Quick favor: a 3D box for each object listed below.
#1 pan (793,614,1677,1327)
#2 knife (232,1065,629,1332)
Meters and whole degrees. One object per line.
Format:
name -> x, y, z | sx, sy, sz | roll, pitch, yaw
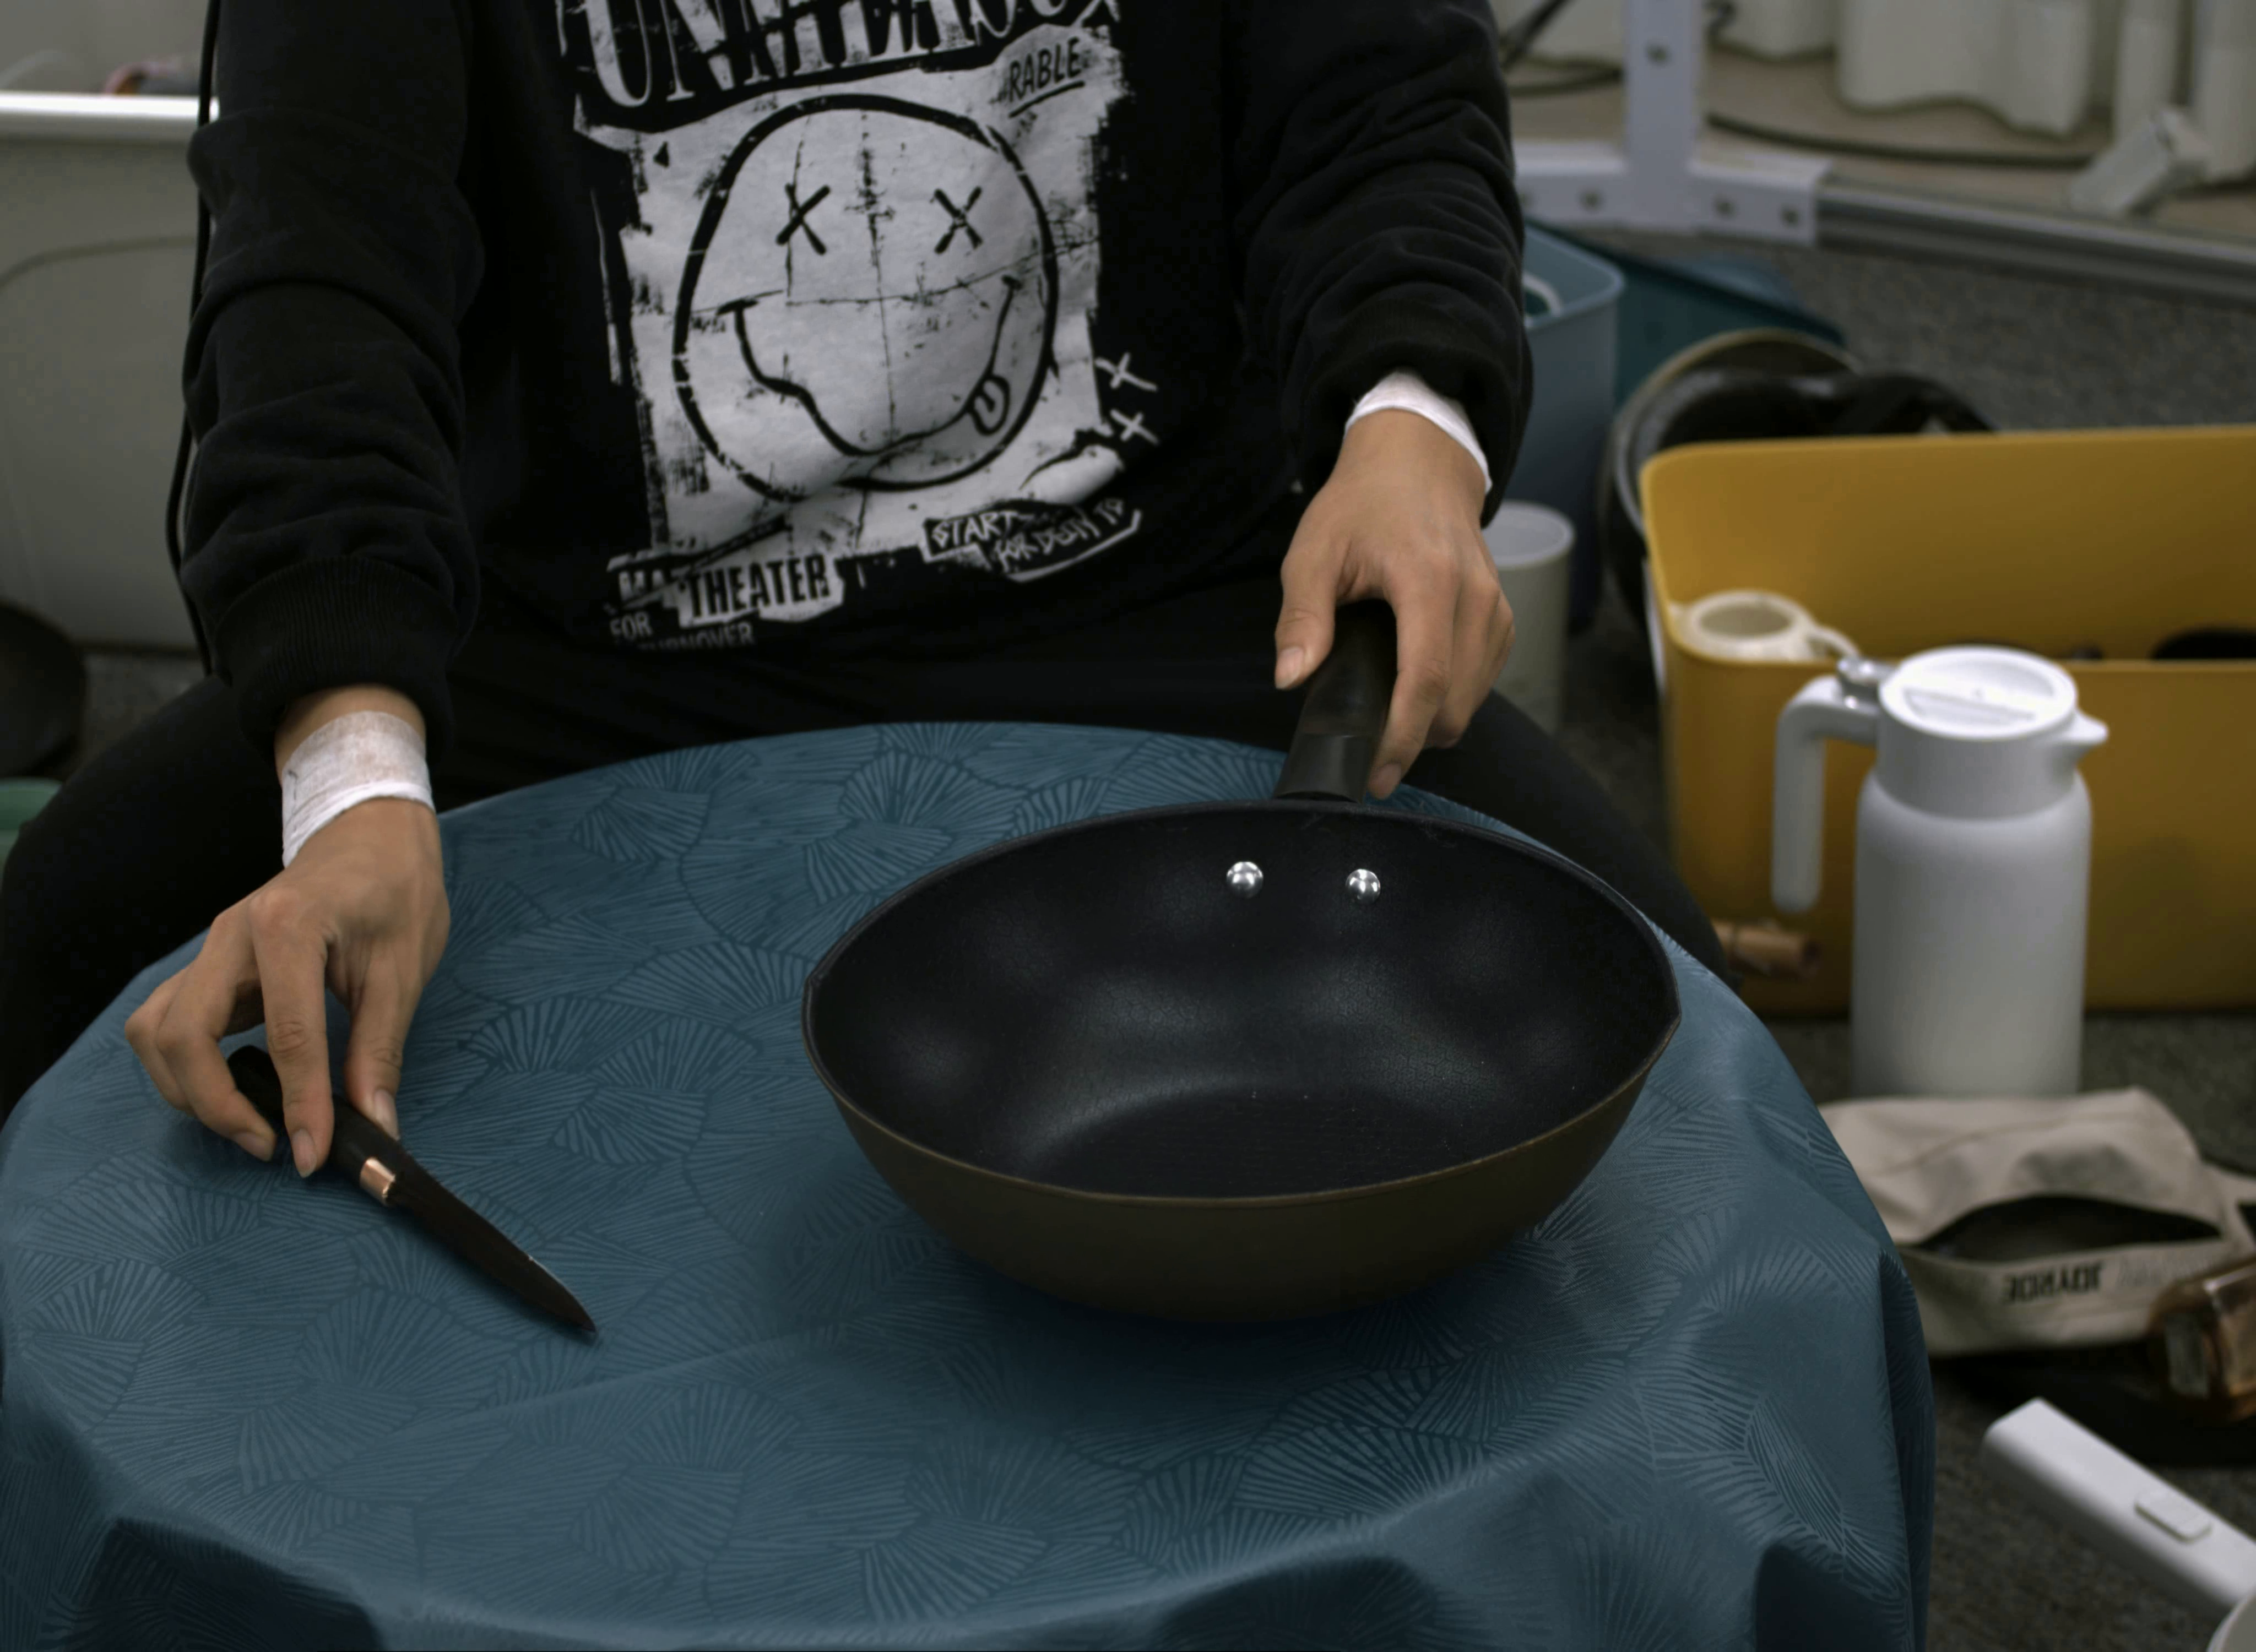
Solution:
pan -> 0.053, 0.050, 1.908 | 0.286, 0.086, 0.470 | 2, 25, 11
knife -> -0.235, 0.124, 1.866 | 0.026, 0.017, 0.225 | 5, 15, -42
